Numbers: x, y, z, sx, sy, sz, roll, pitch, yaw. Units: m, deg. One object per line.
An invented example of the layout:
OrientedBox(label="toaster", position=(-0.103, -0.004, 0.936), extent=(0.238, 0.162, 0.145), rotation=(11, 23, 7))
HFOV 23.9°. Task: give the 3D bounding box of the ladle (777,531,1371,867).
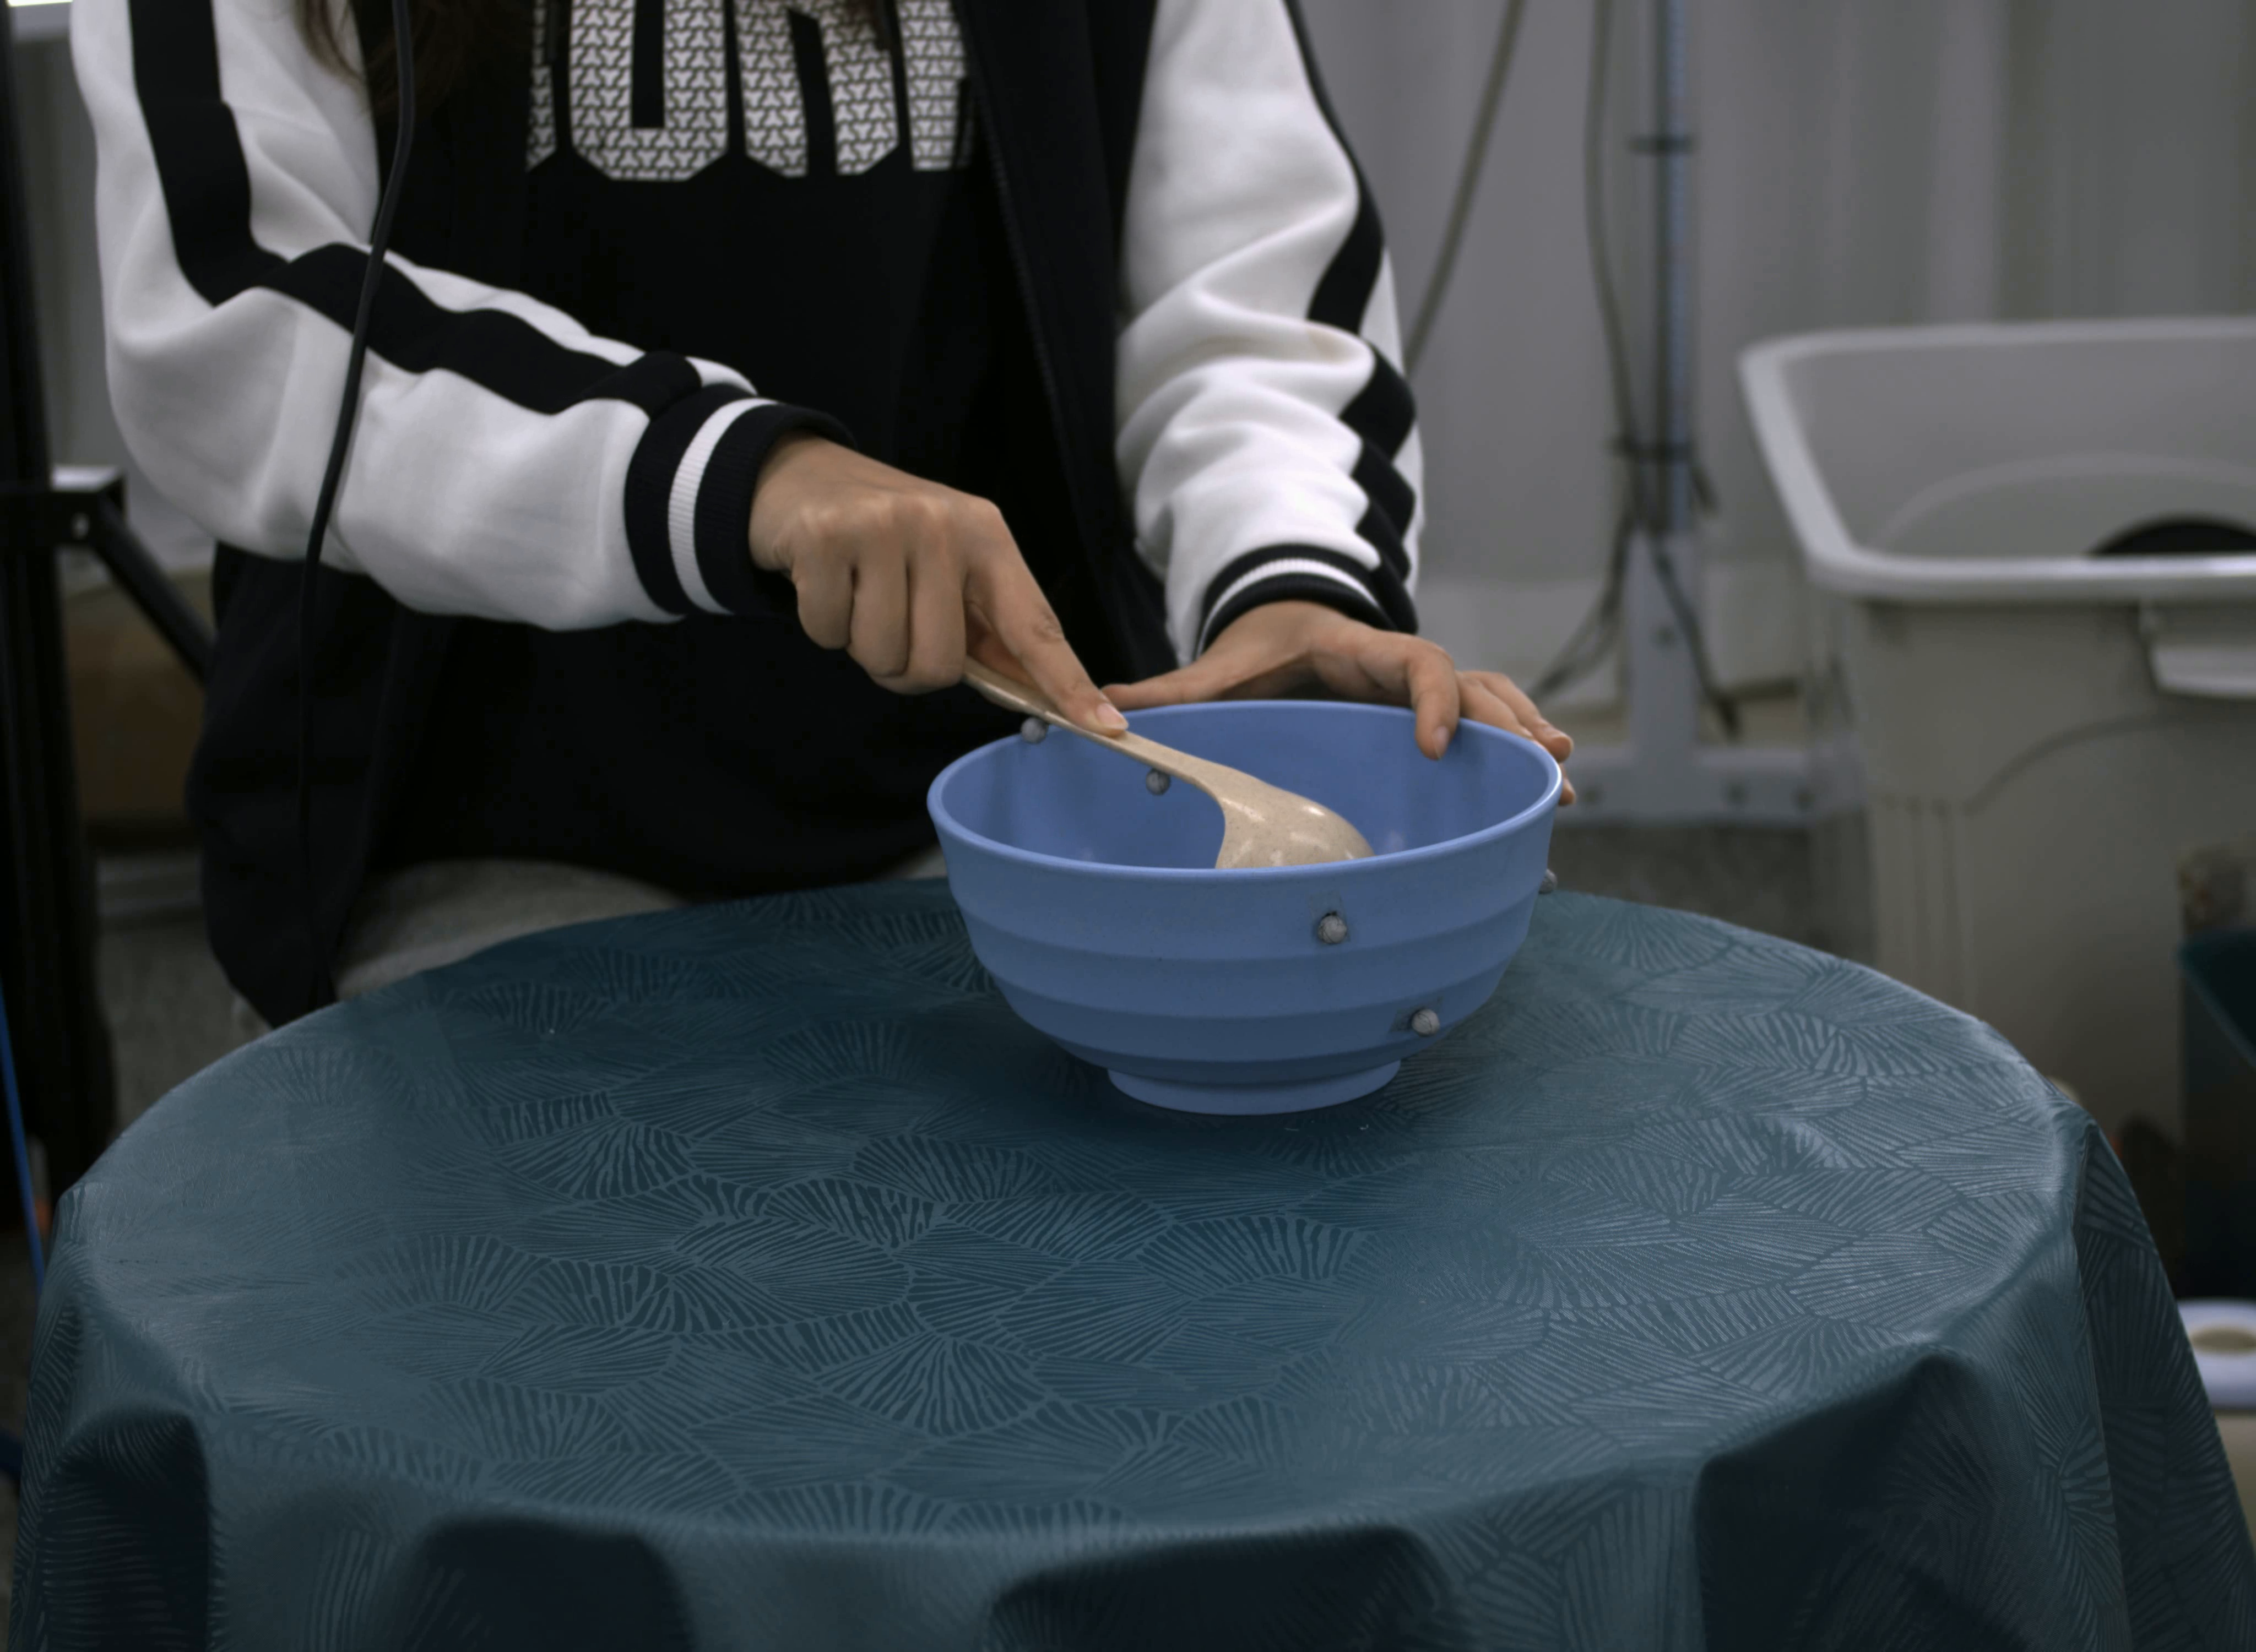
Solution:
OrientedBox(label="ladle", position=(-0.026, -0.012, 1.705), extent=(0.260, 0.073, 0.070), rotation=(29, 30, 33))

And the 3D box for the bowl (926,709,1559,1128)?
OrientedBox(label="bowl", position=(0.038, 0.034, 1.651), extent=(0.195, 0.095, 0.197), rotation=(-4, 16, 0))
